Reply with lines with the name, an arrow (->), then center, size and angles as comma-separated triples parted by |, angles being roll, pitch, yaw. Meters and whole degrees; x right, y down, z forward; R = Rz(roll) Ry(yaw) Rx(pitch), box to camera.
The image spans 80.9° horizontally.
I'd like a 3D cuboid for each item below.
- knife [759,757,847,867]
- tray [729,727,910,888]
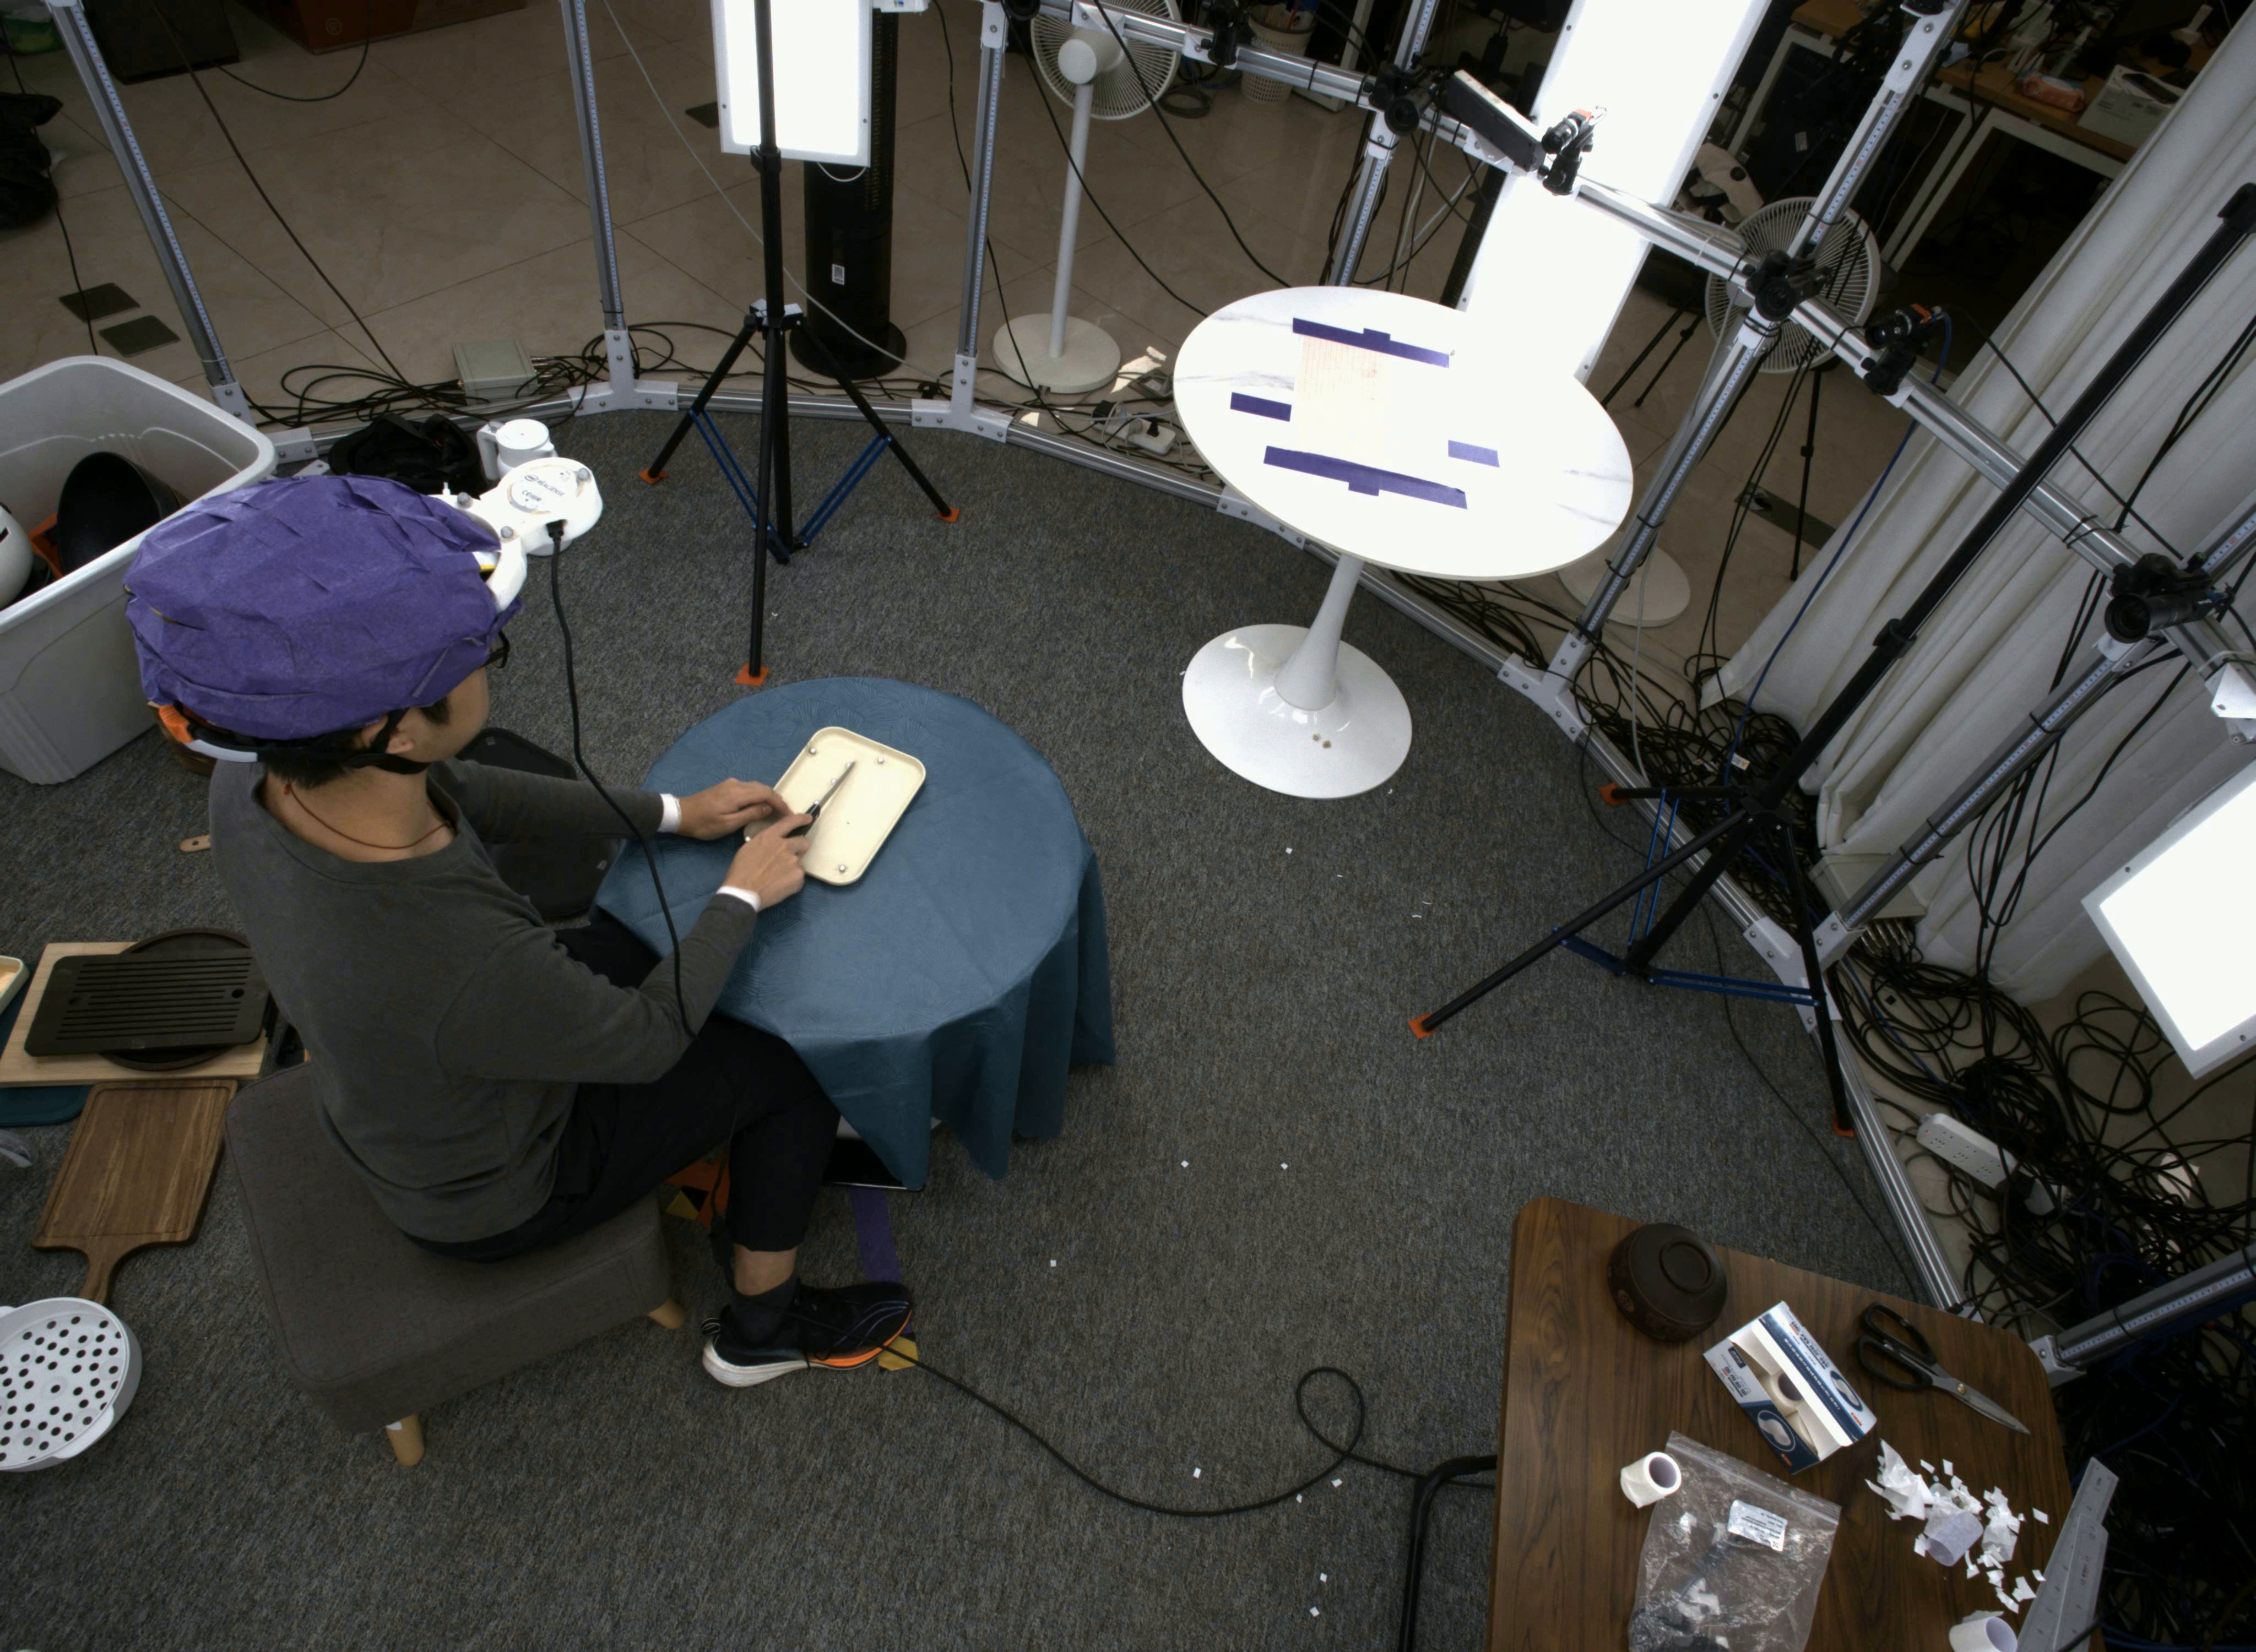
knife -> -0.427, -0.027, 1.722 | 0.016, 0.025, 0.236 | 21, 42, 4
tray -> -0.412, -0.027, 1.747 | 0.169, 0.018, 0.238 | 24, 52, 3
